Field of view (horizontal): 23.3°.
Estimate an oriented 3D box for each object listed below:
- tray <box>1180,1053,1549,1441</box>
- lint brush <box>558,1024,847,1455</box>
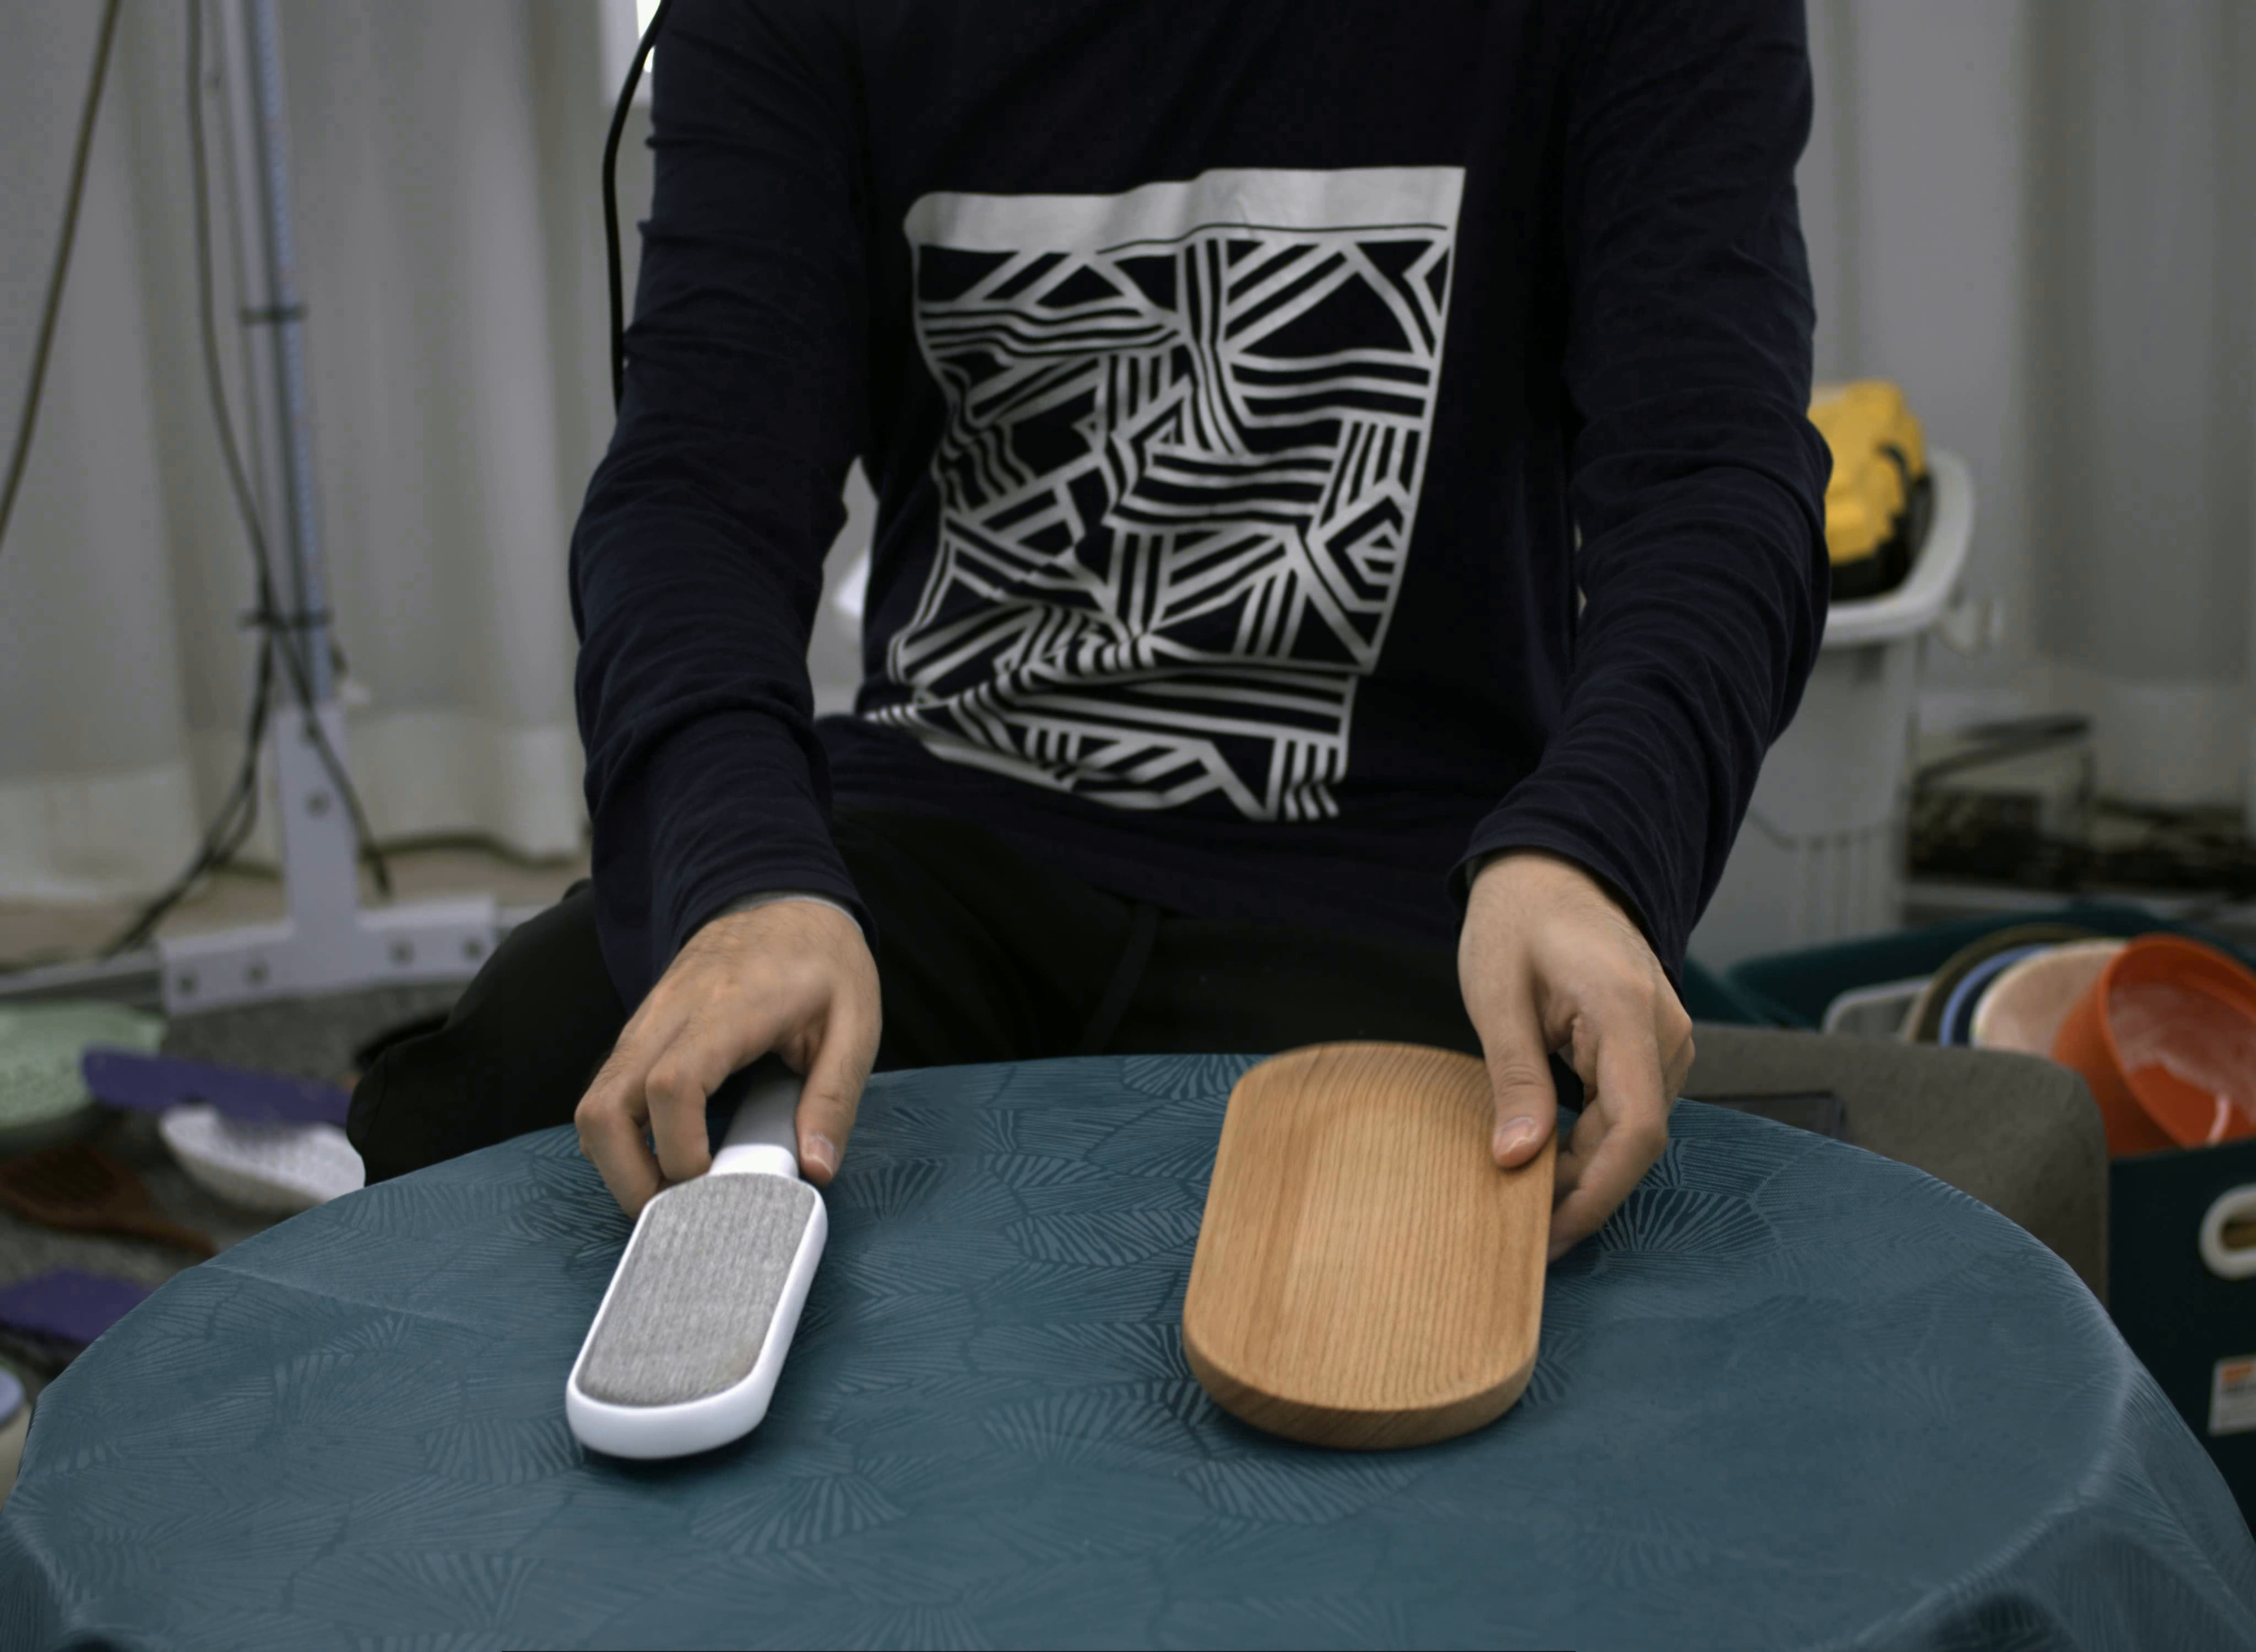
[{"bbox_3d":[0.071,0.120,1.597,0.101,0.020,0.233,4,21,4],"label":"tray"},{"bbox_3d":[-0.117,0.119,1.637,0.060,0.021,0.311,-7,17,8],"label":"lint brush"}]
